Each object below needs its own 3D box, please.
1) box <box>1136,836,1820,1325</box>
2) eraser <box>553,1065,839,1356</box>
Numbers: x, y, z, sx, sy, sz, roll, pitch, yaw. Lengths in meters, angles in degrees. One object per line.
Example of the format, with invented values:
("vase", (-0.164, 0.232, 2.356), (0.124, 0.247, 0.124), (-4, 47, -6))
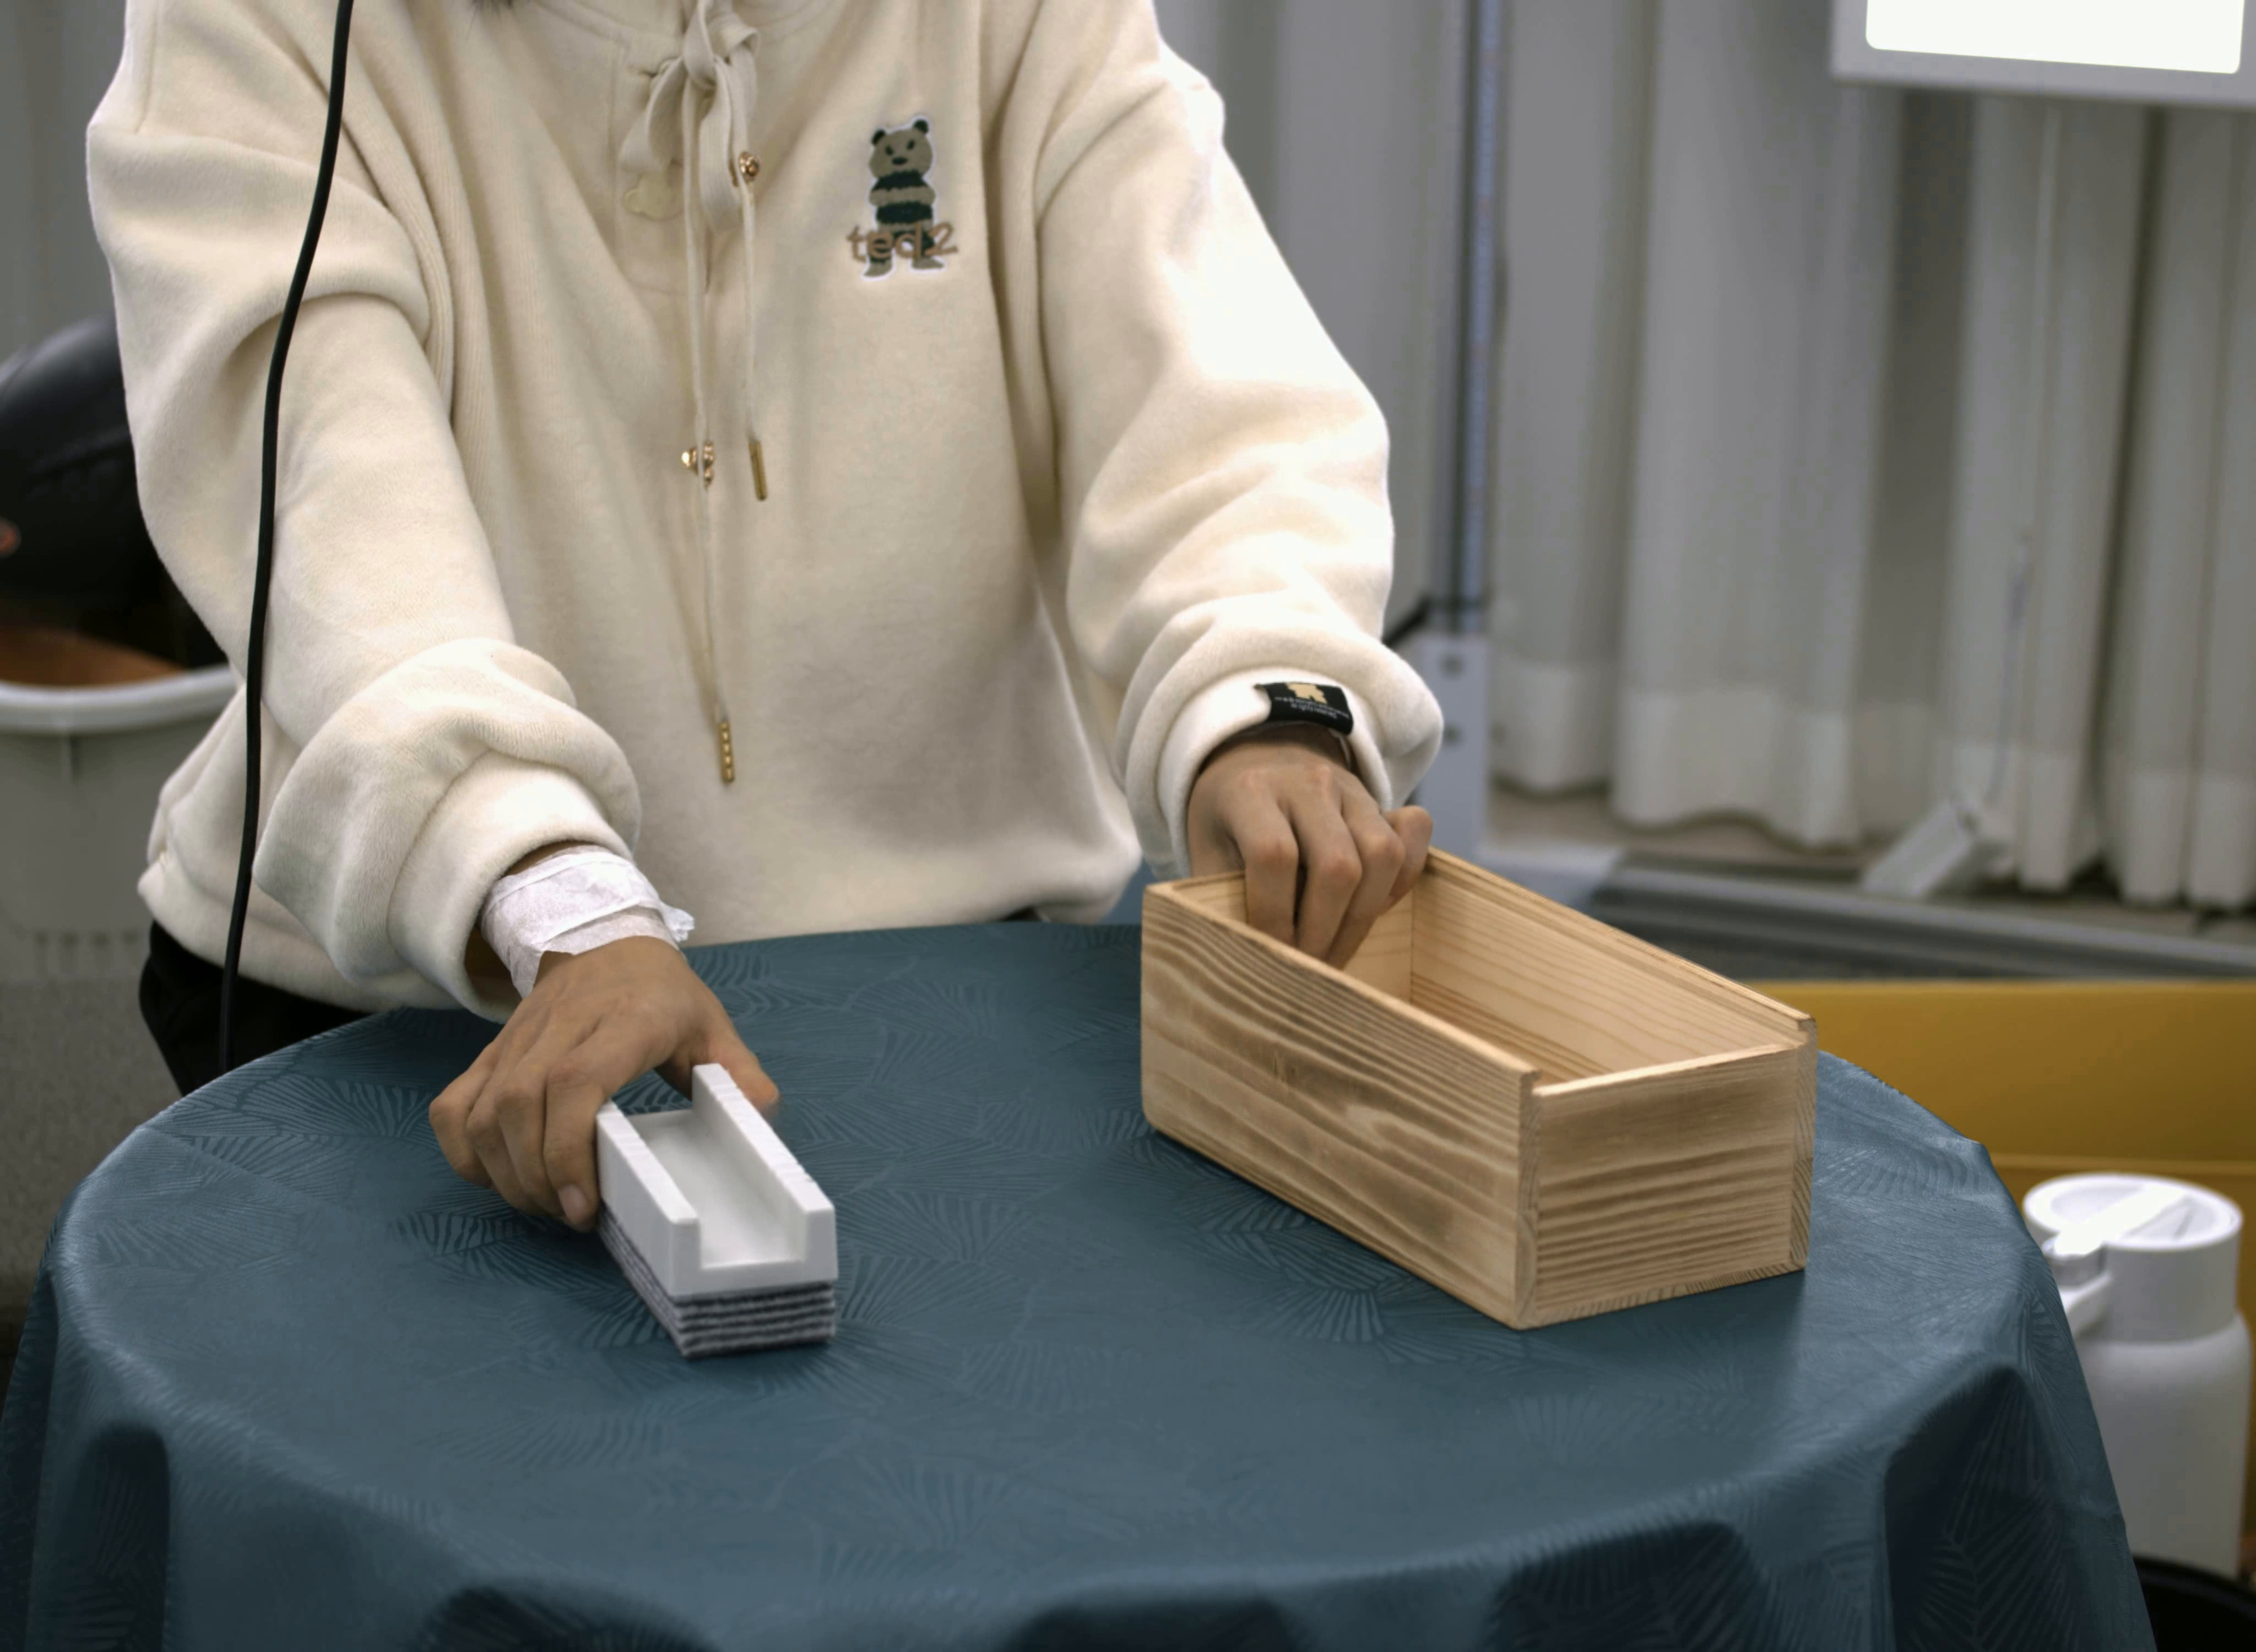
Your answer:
("box", (0.102, 0.073, 1.607), (0.108, 0.081, 0.208), (-8, 19, -31))
("eraser", (-0.127, 0.110, 1.536), (0.050, 0.047, 0.133), (-8, 18, -19))
